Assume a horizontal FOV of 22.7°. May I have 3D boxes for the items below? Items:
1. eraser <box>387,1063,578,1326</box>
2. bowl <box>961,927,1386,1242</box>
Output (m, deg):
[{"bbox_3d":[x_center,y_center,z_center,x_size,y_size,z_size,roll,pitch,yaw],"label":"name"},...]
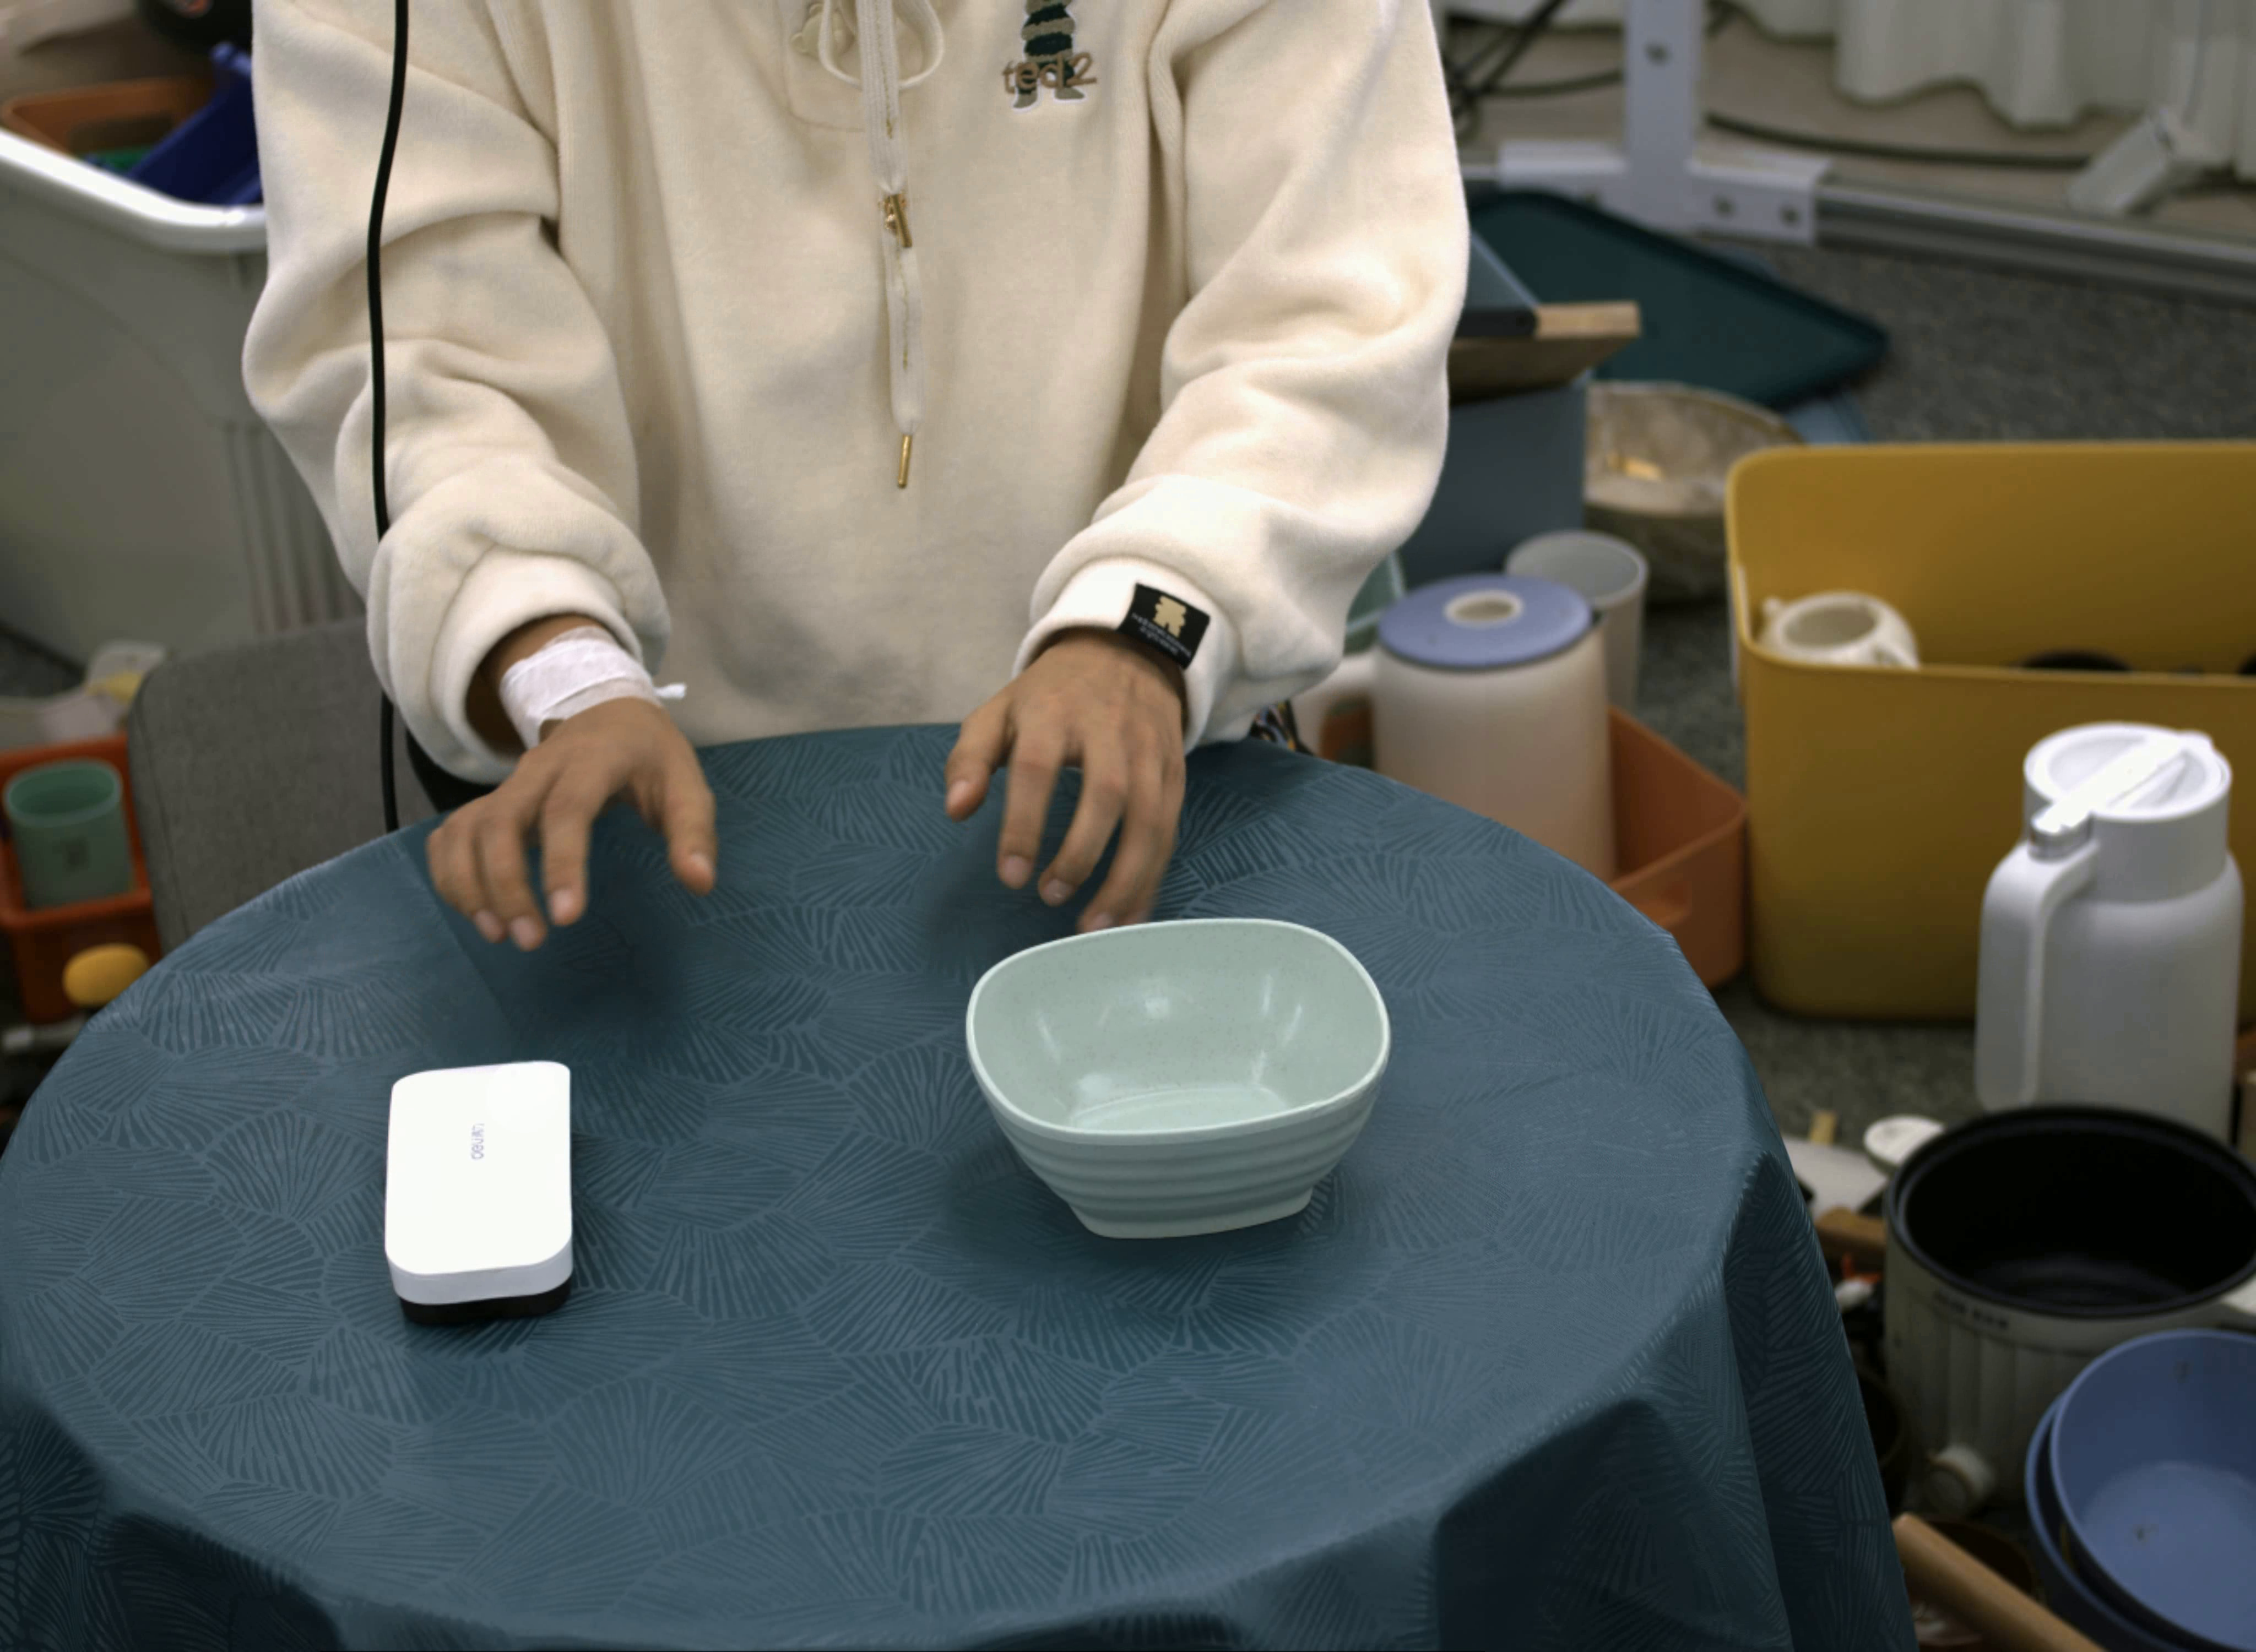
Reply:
[{"bbox_3d":[-0.212,0.118,1.856,0.063,0.034,0.133,-5,28,-3],"label":"eraser"},{"bbox_3d":[0.015,0.091,1.860,0.151,0.058,0.154,-1,26,1],"label":"bowl"}]
